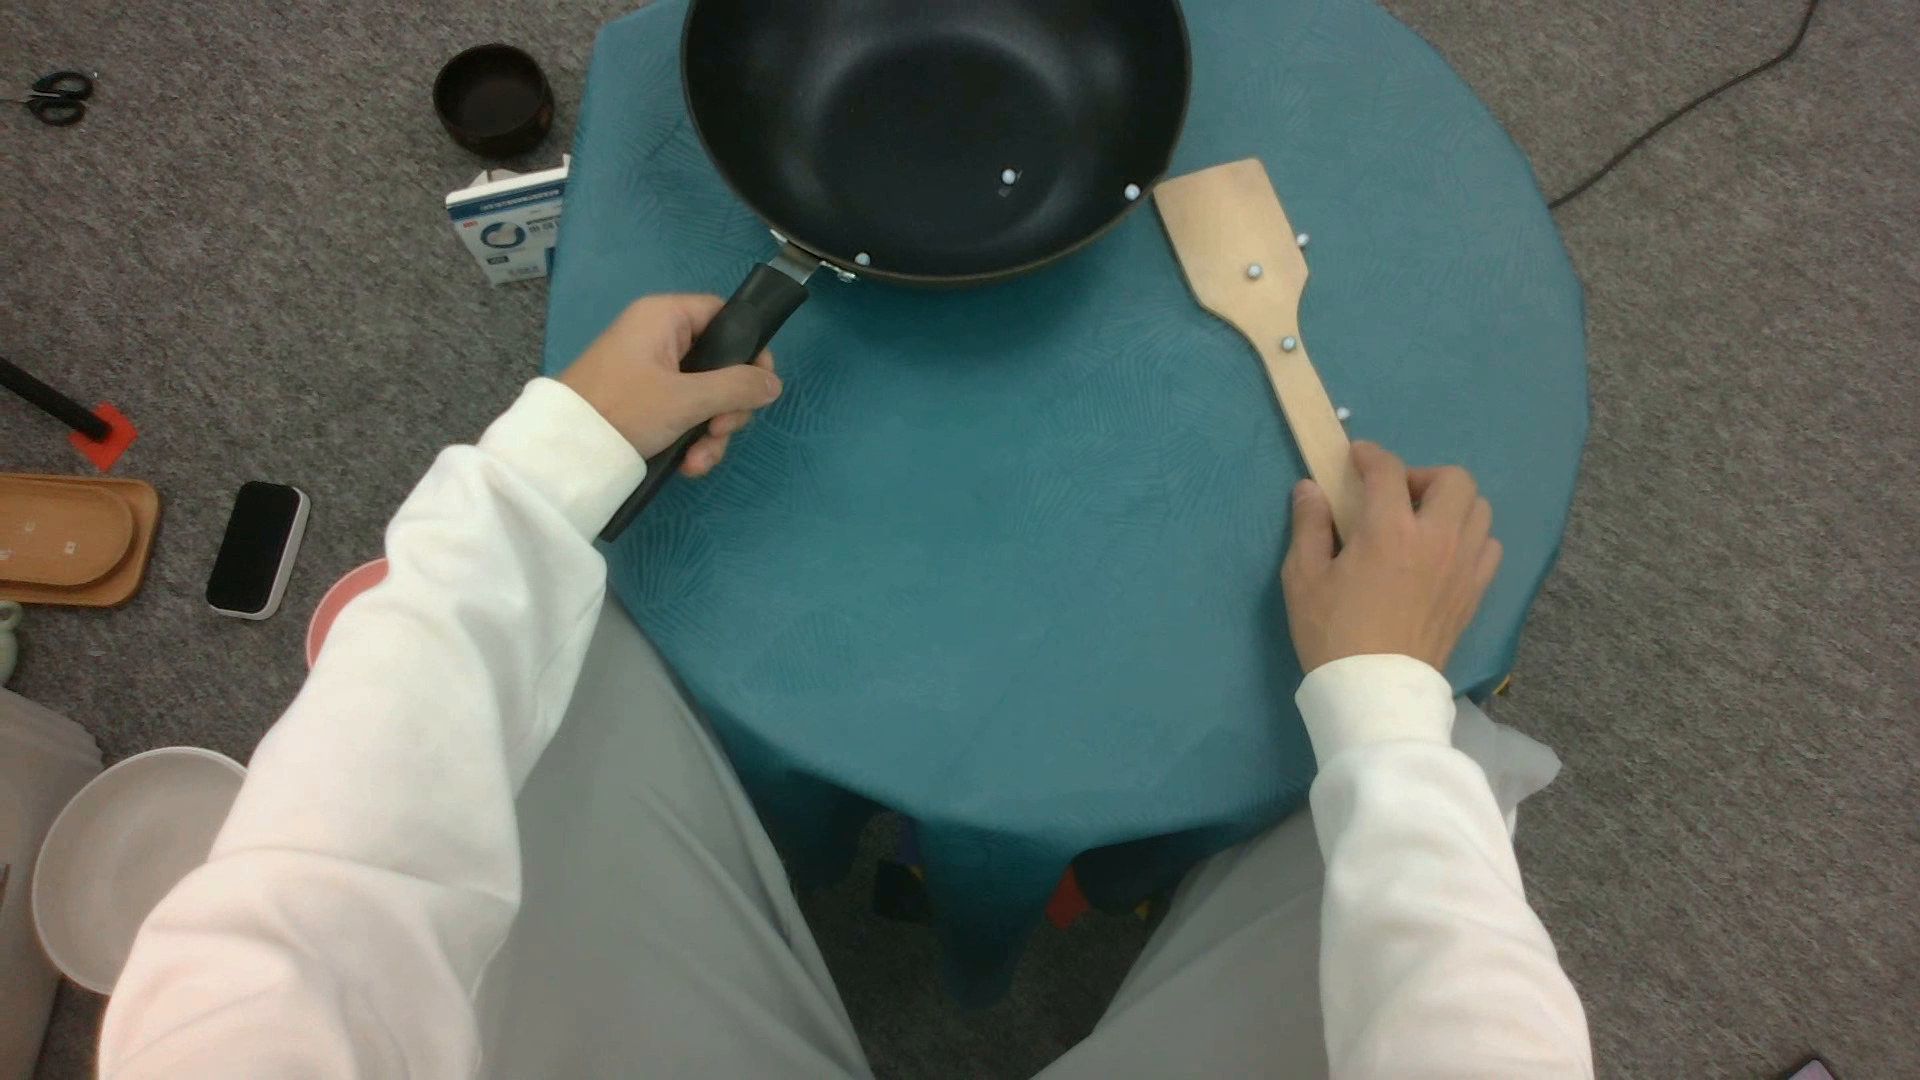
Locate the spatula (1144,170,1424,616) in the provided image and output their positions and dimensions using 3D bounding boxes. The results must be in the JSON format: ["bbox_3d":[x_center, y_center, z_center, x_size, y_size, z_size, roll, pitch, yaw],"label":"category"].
[{"bbox_3d":[0.192,-0.089,0.789,0.072,0.010,0.293,-18,69,-7],"label":"spatula"}]

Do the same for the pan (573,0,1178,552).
[{"bbox_3d":[-0.063,-0.175,0.786,0.288,0.086,0.464,28,74,10],"label":"pan"}]
